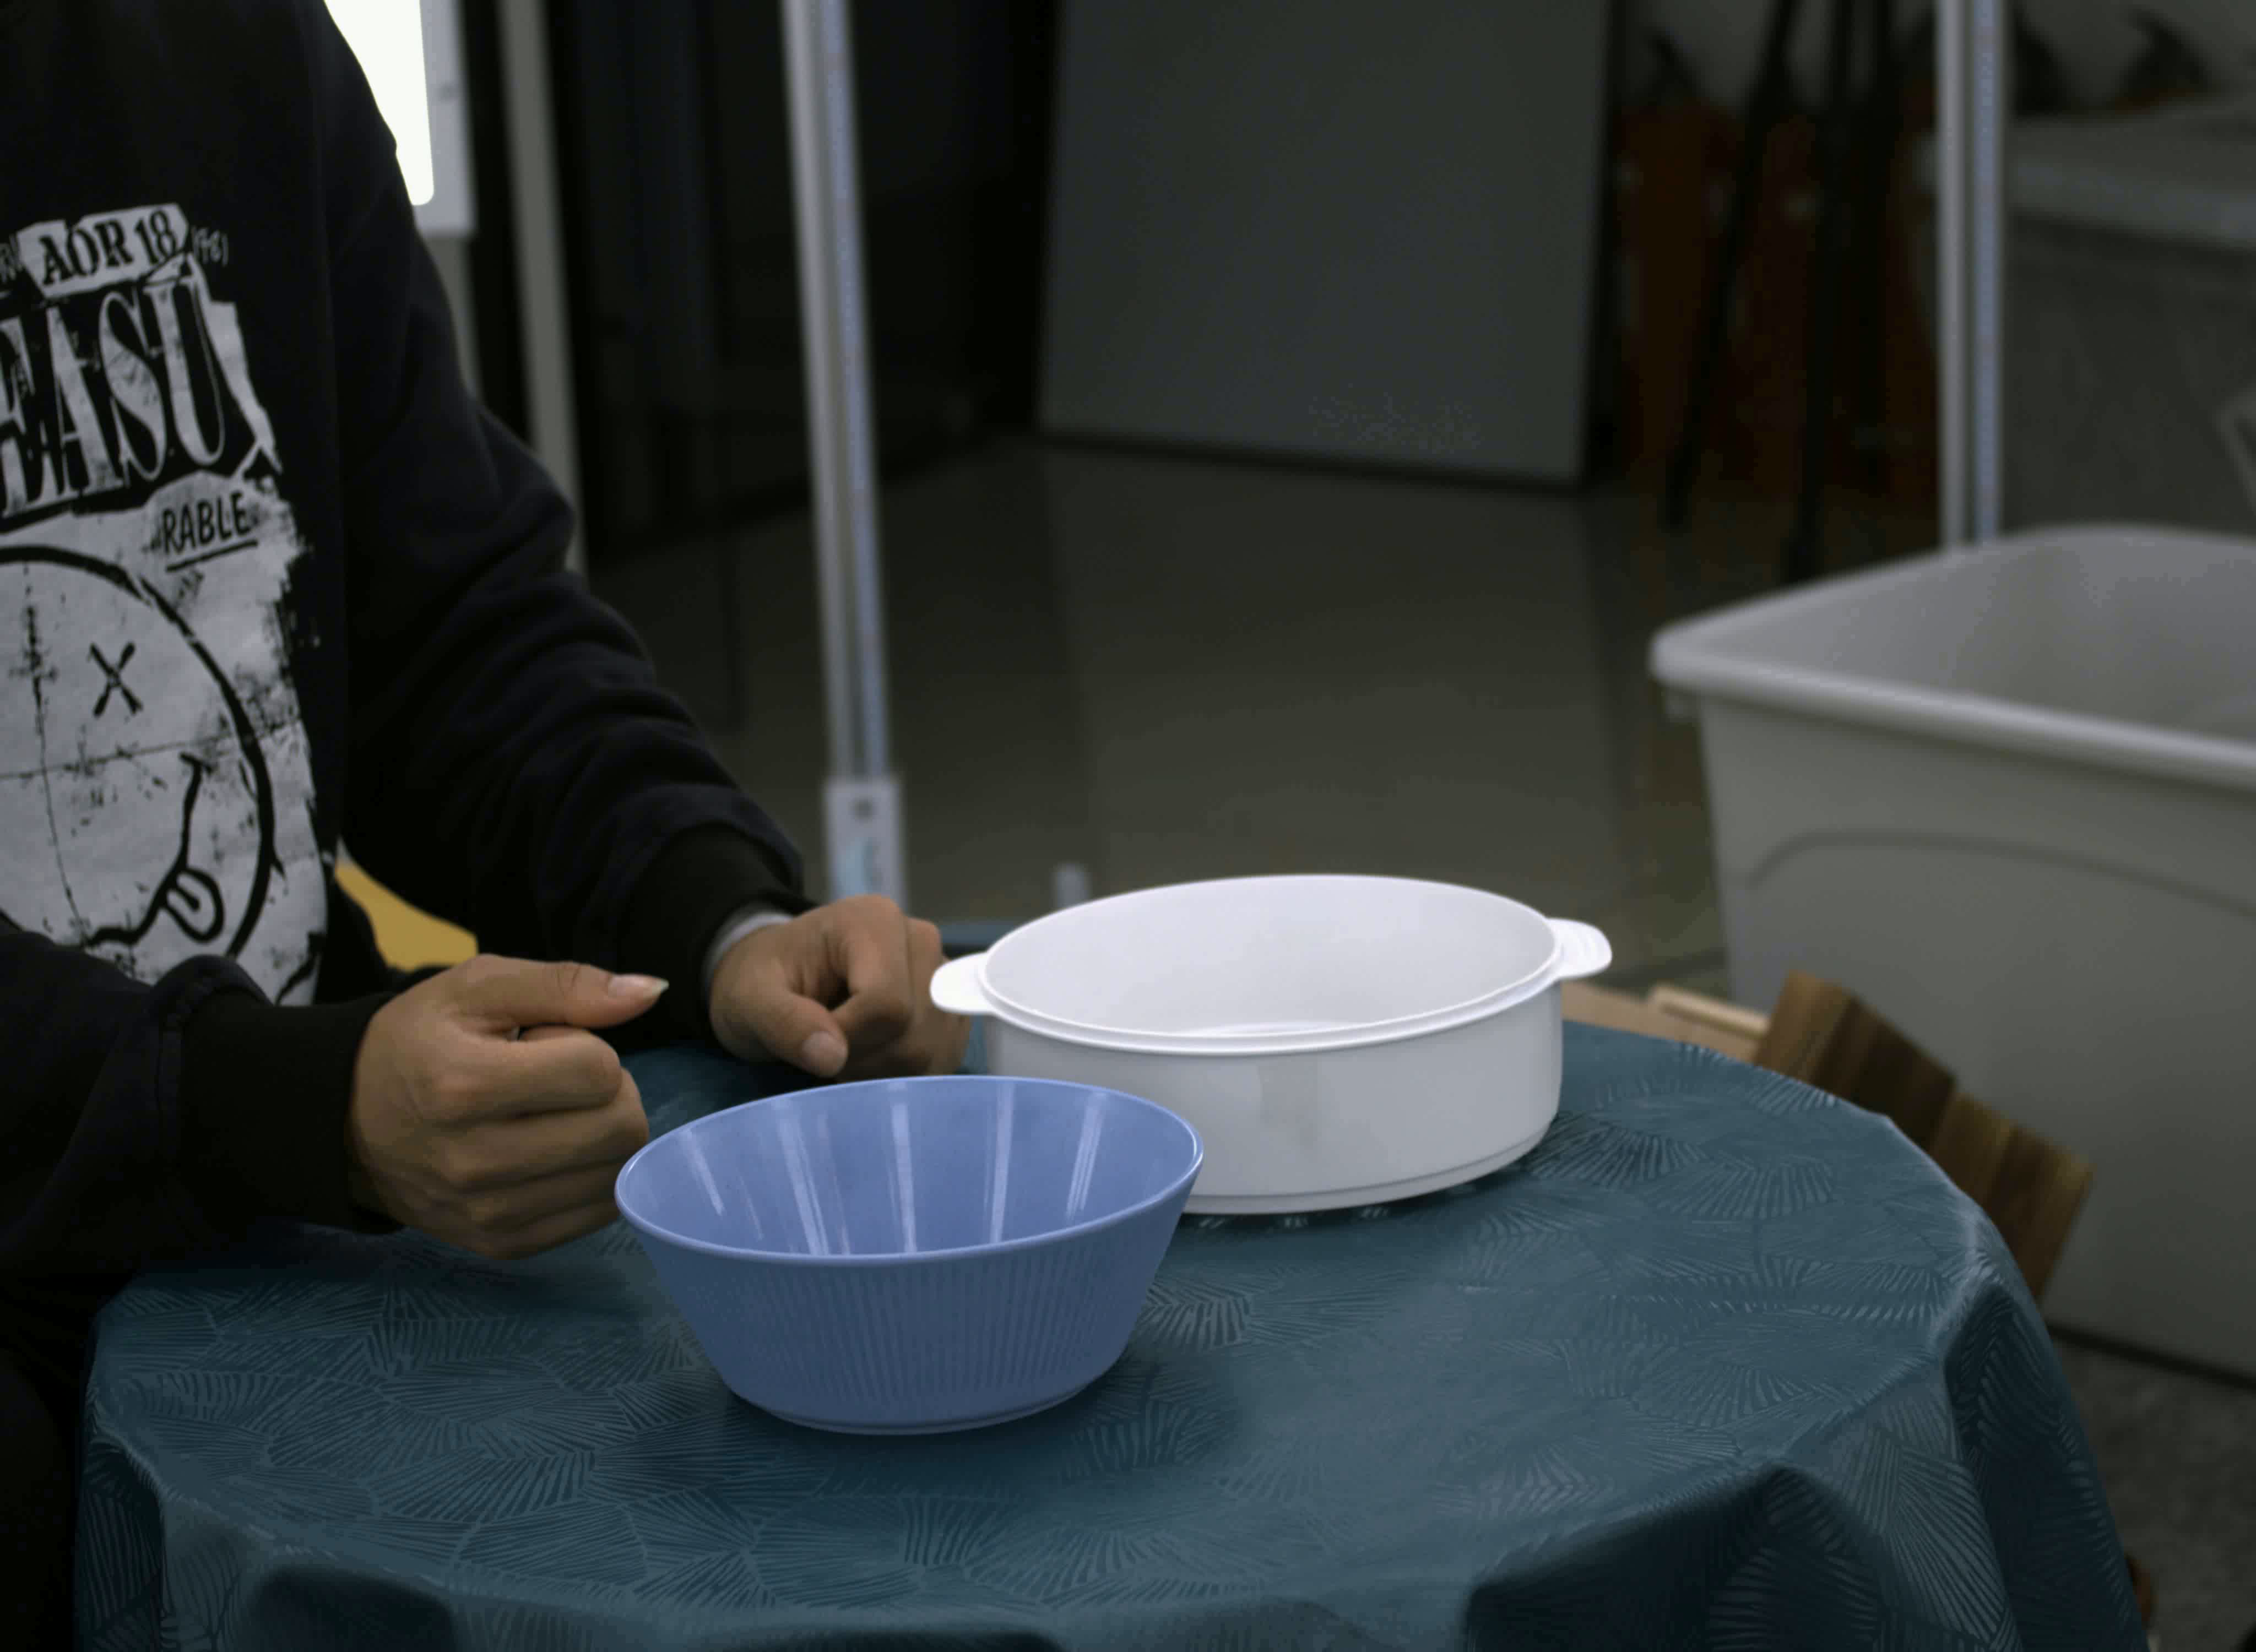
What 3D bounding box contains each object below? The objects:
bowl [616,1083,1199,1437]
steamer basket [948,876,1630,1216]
[{"bbox_3d":[-0.063,0.131,1.602,0.174,0.071,0.176,-4,13,0],"label":"bowl"},{"bbox_3d":[0.054,0.073,1.805,0.227,0.070,0.202,-2,14,0],"label":"steamer basket"}]
